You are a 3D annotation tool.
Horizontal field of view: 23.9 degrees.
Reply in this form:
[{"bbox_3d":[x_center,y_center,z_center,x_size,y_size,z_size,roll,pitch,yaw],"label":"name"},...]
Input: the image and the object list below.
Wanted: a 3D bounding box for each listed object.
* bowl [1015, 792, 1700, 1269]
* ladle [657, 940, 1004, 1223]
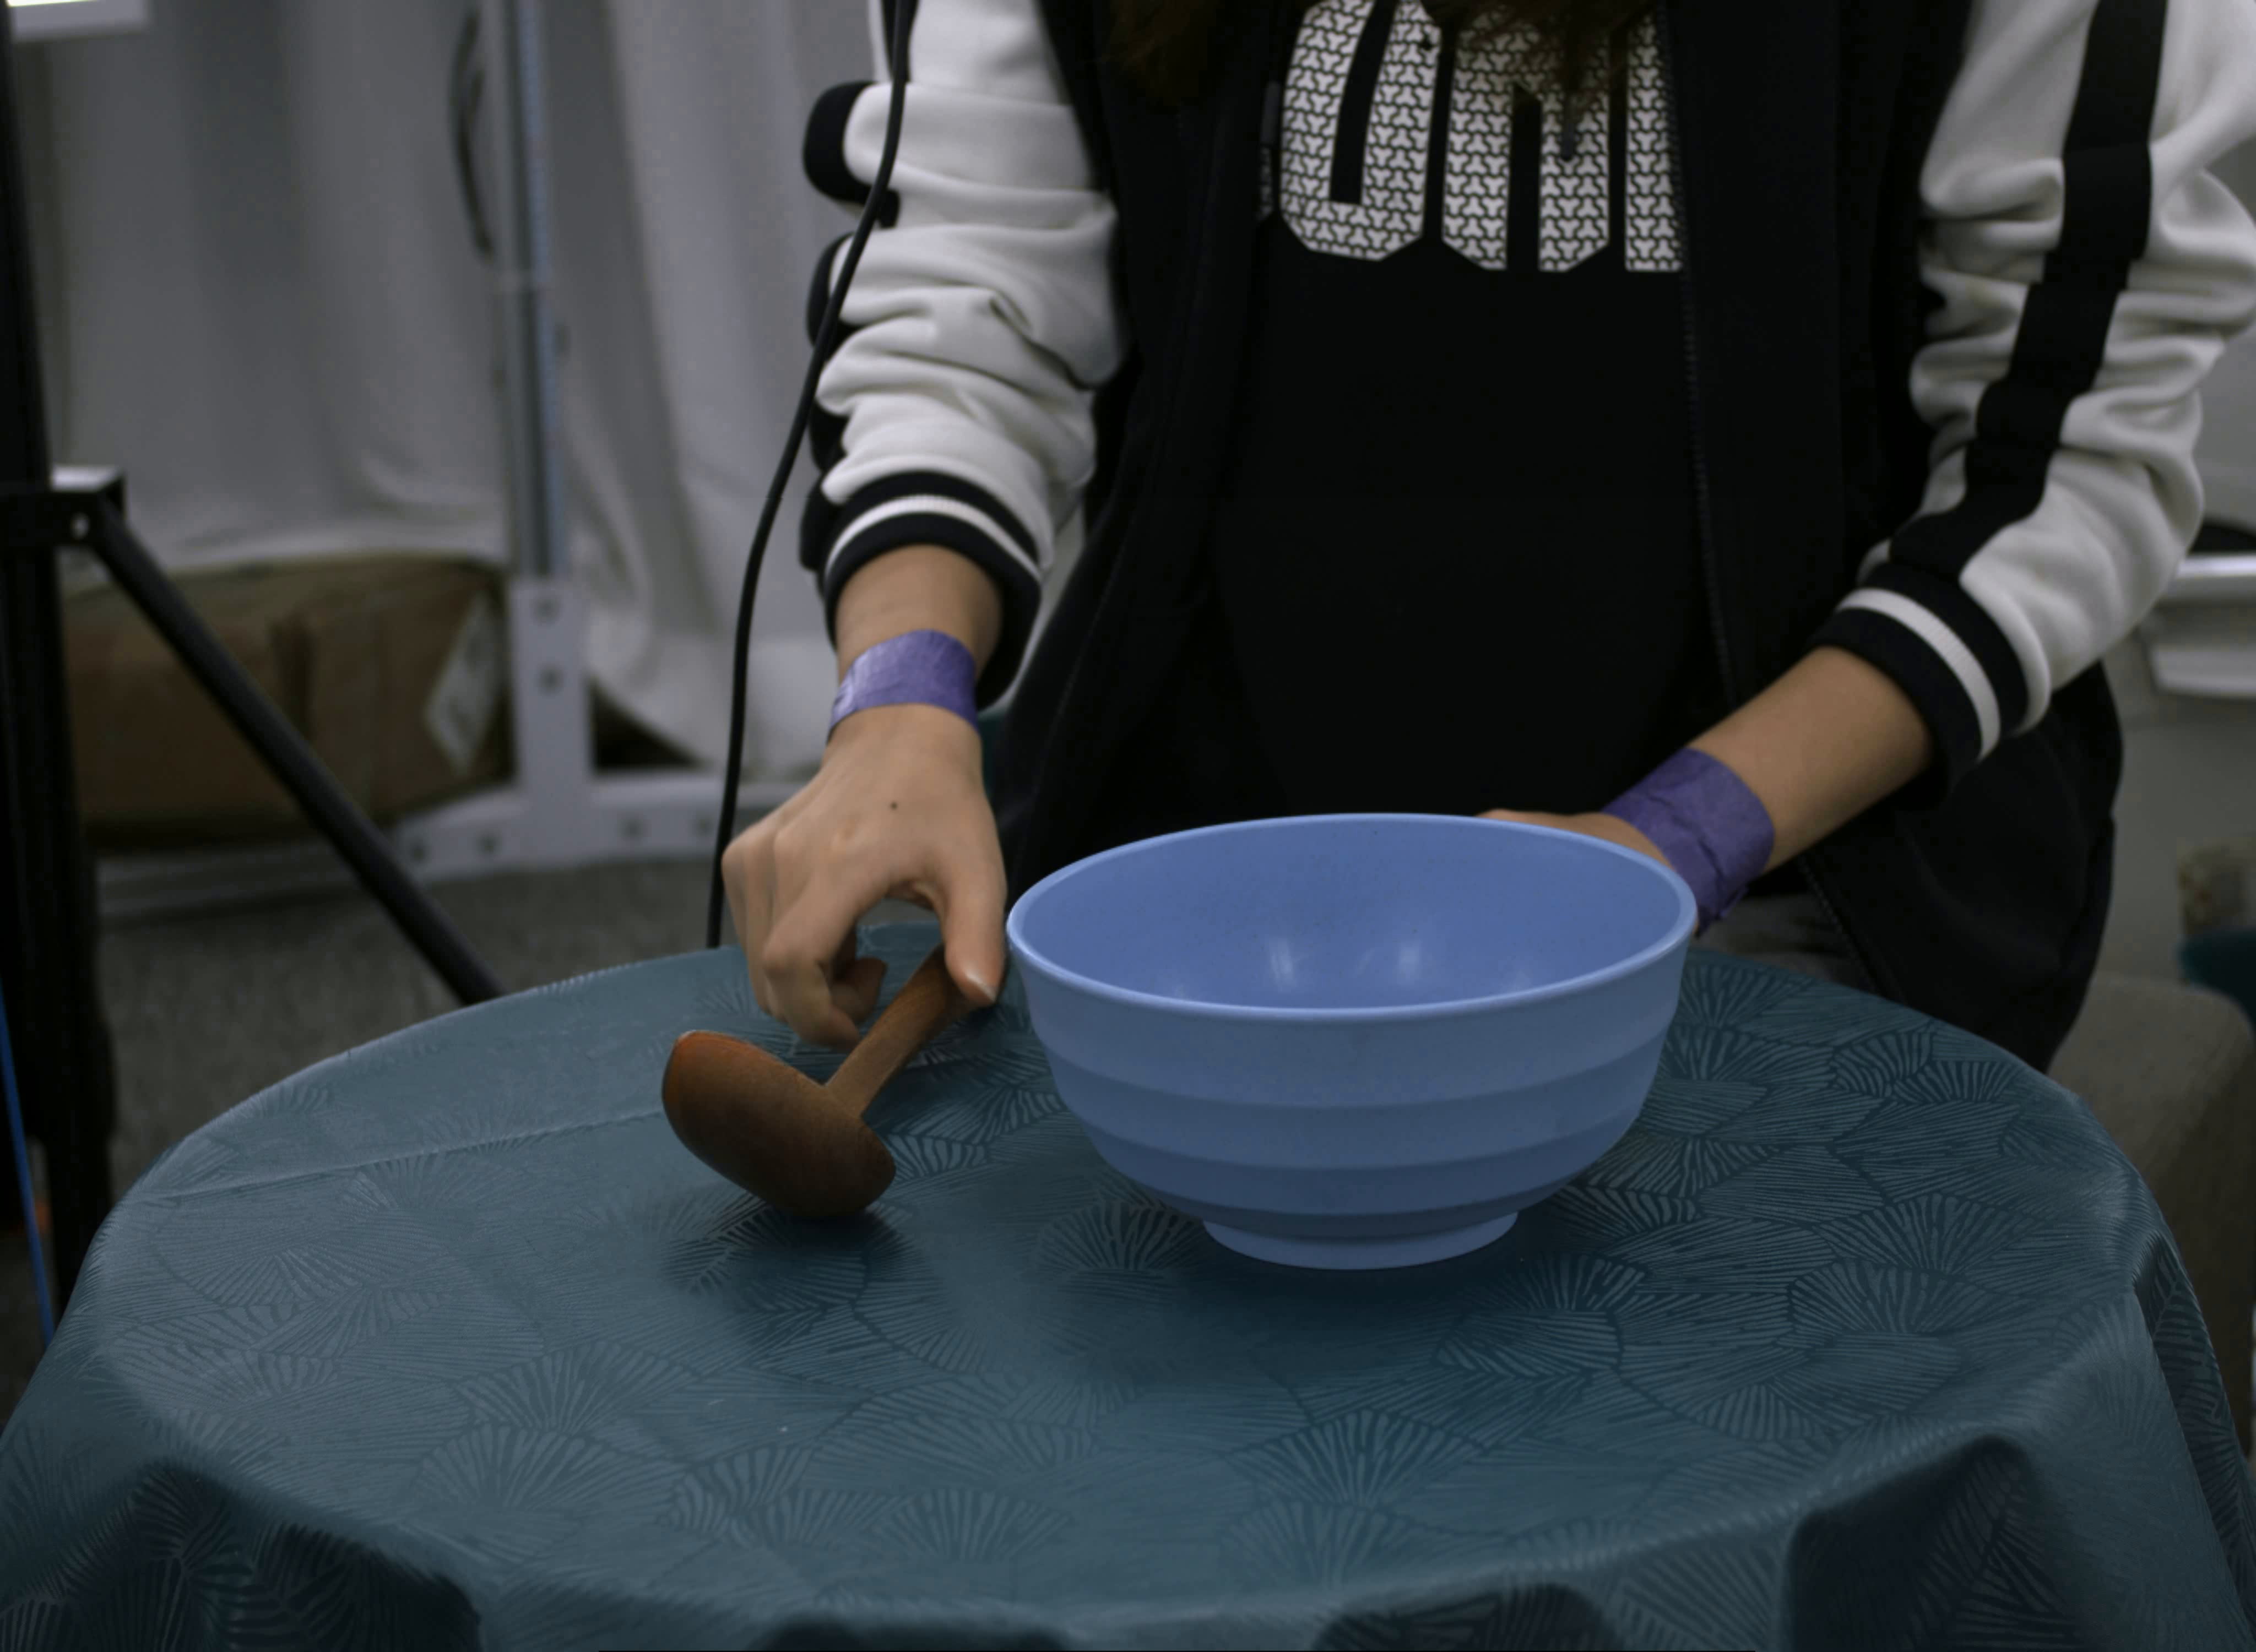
[{"bbox_3d":[0.071,0.066,1.522,0.196,0.095,0.197,-8,17,1],"label":"bowl"},{"bbox_3d":[-0.074,0.061,1.625,0.077,0.065,0.257,35,23,6],"label":"ladle"}]
